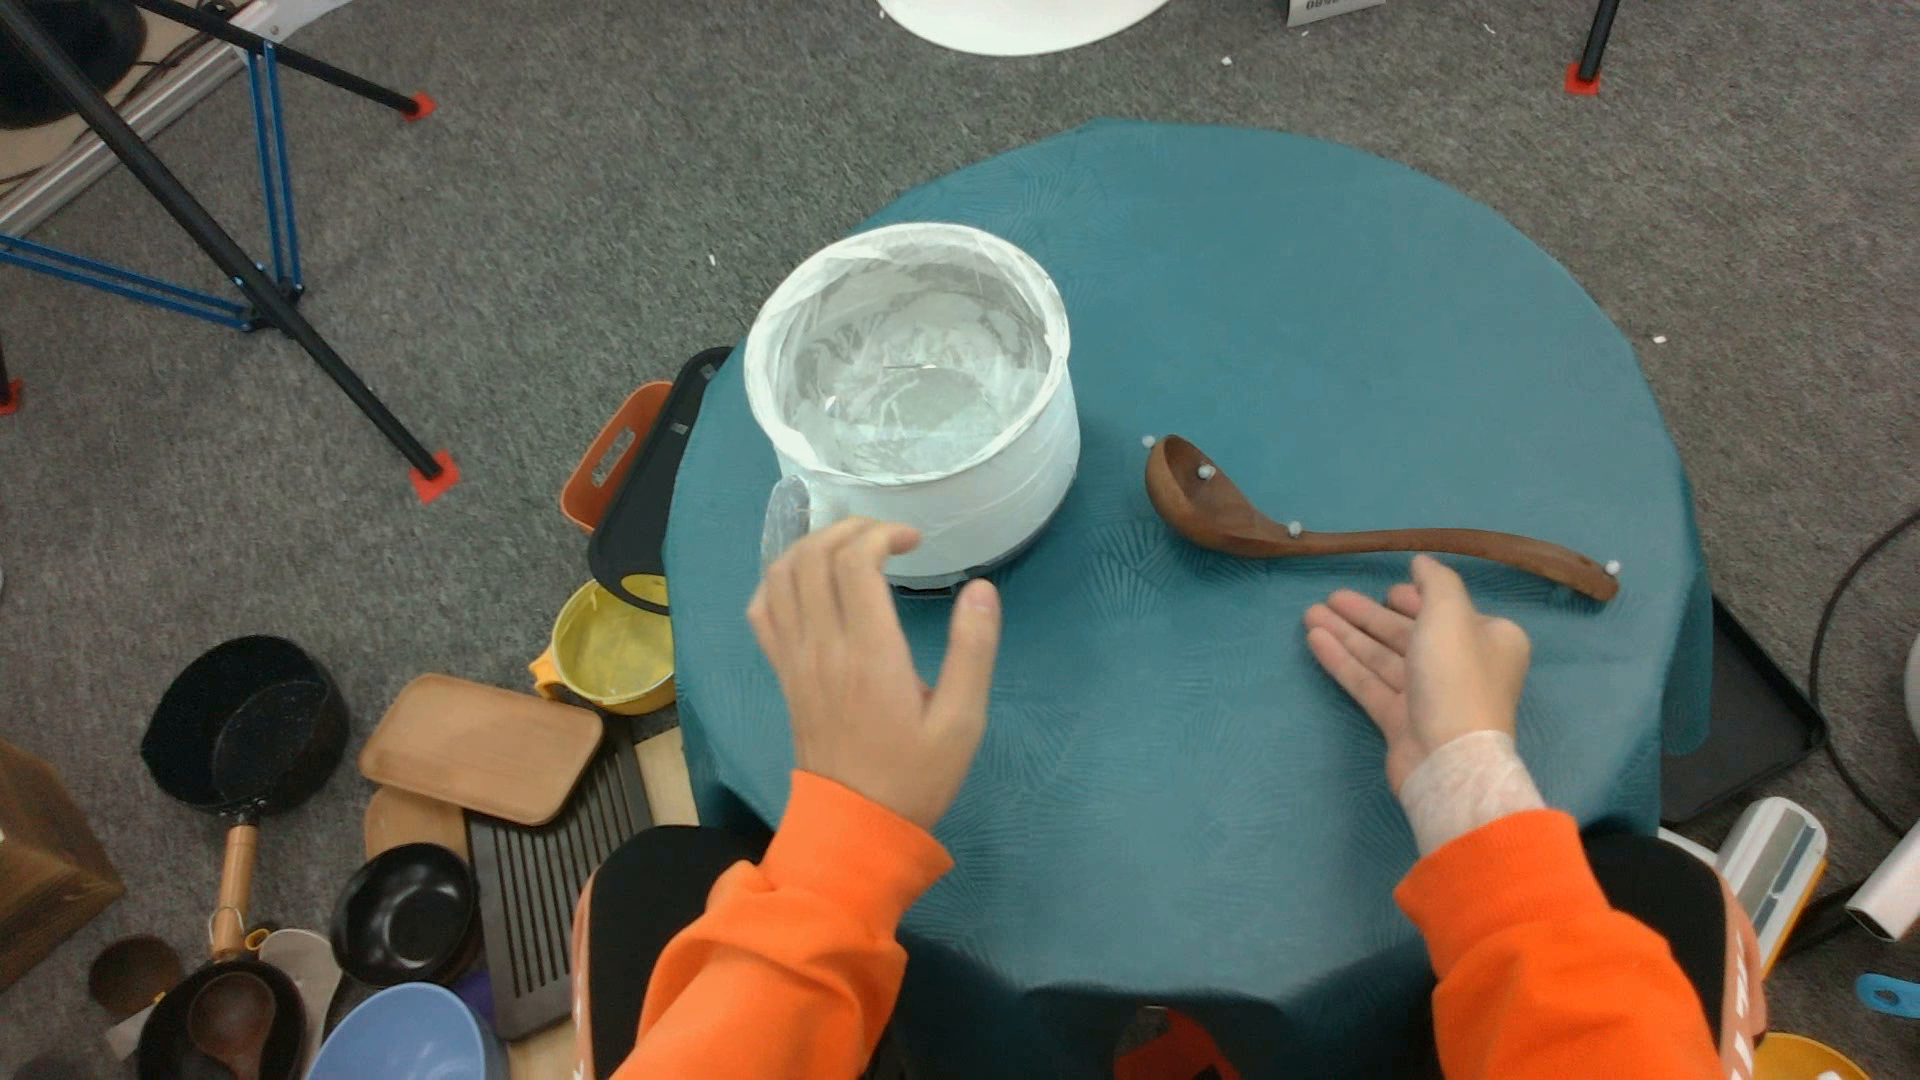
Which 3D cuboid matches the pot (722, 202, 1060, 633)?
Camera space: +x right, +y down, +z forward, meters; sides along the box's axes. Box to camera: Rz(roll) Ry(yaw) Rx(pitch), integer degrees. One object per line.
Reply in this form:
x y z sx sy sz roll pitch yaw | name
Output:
-0.047 -0.061 0.778 0.178 0.136 0.234 24 66 21 | pot

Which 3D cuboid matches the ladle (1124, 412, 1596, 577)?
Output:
0.220 -0.025 0.764 0.260 0.065 0.077 7 34 13 | ladle
